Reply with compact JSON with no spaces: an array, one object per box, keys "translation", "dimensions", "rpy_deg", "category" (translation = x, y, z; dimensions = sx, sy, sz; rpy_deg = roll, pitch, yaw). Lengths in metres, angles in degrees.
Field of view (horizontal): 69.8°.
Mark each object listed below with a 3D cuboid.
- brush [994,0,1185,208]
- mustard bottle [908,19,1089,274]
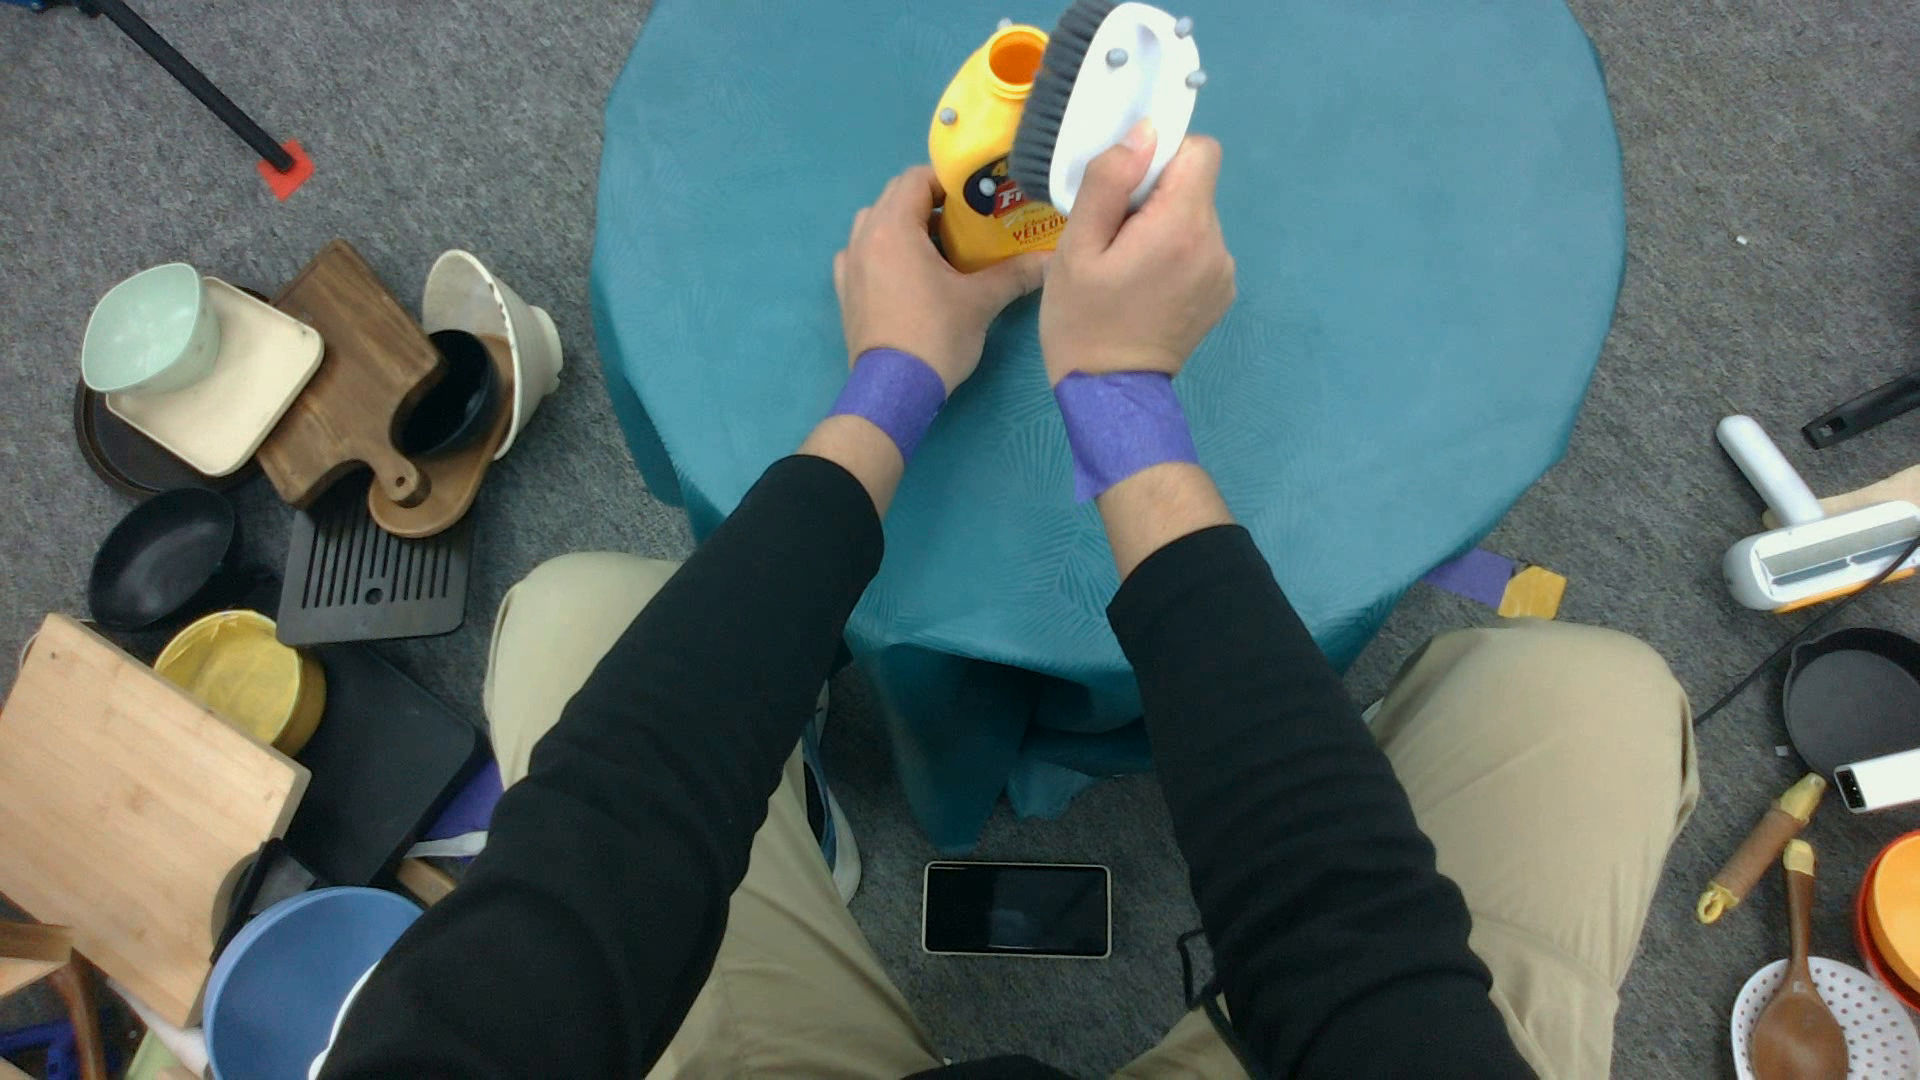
[{"translation":[0.065,-0.199,0.624],"dimensions":[0.072,0.050,0.099],"rpy_deg":[34,108,42],"category":"brush"},{"translation":[0.023,-0.204,0.718],"dimensions":[0.098,0.171,0.059],"rpy_deg":[-22,75,-5],"category":"mustard bottle"}]
